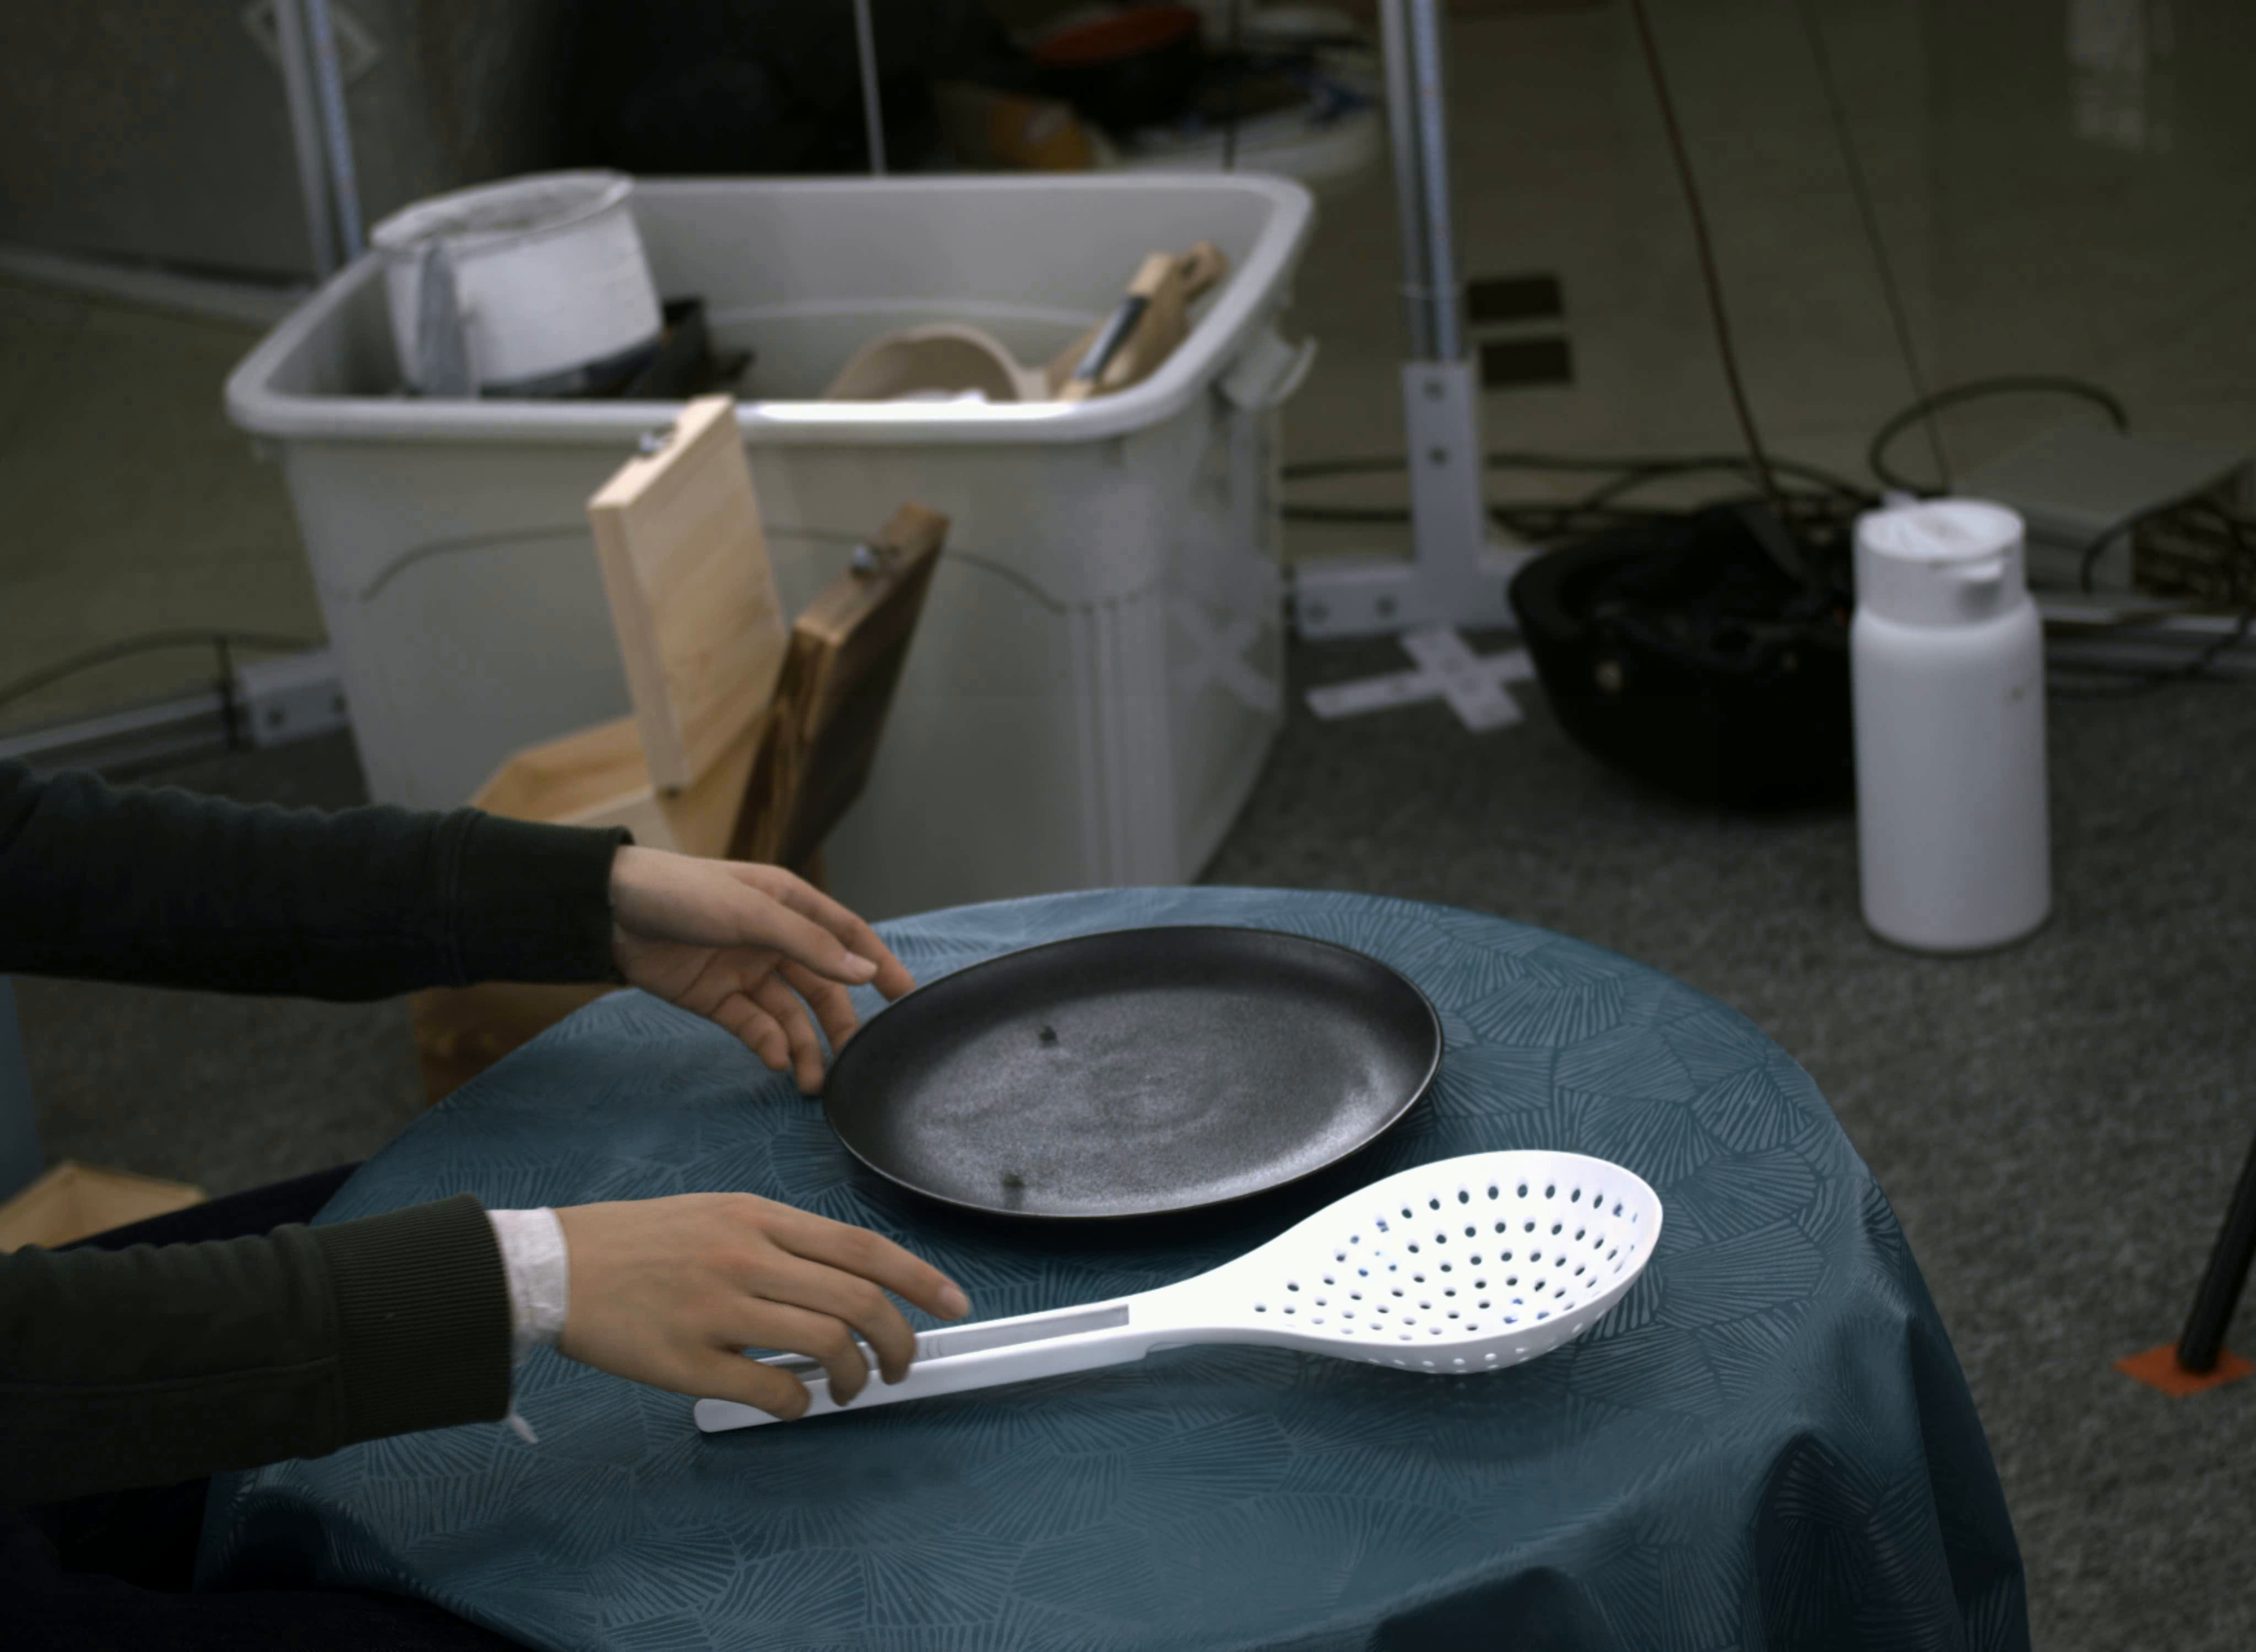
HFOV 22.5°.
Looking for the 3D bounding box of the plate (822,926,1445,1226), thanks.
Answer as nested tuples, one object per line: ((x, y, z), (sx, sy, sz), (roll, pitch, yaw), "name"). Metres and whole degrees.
((0.002, 0.102, 2.204), (0.244, 0.024, 0.241), (-5, 25, 3), "plate")

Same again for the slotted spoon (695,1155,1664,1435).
((0.017, 0.175, 2.017), (0.349, 0.046, 0.134), (-6, 23, 2), "slotted spoon")
